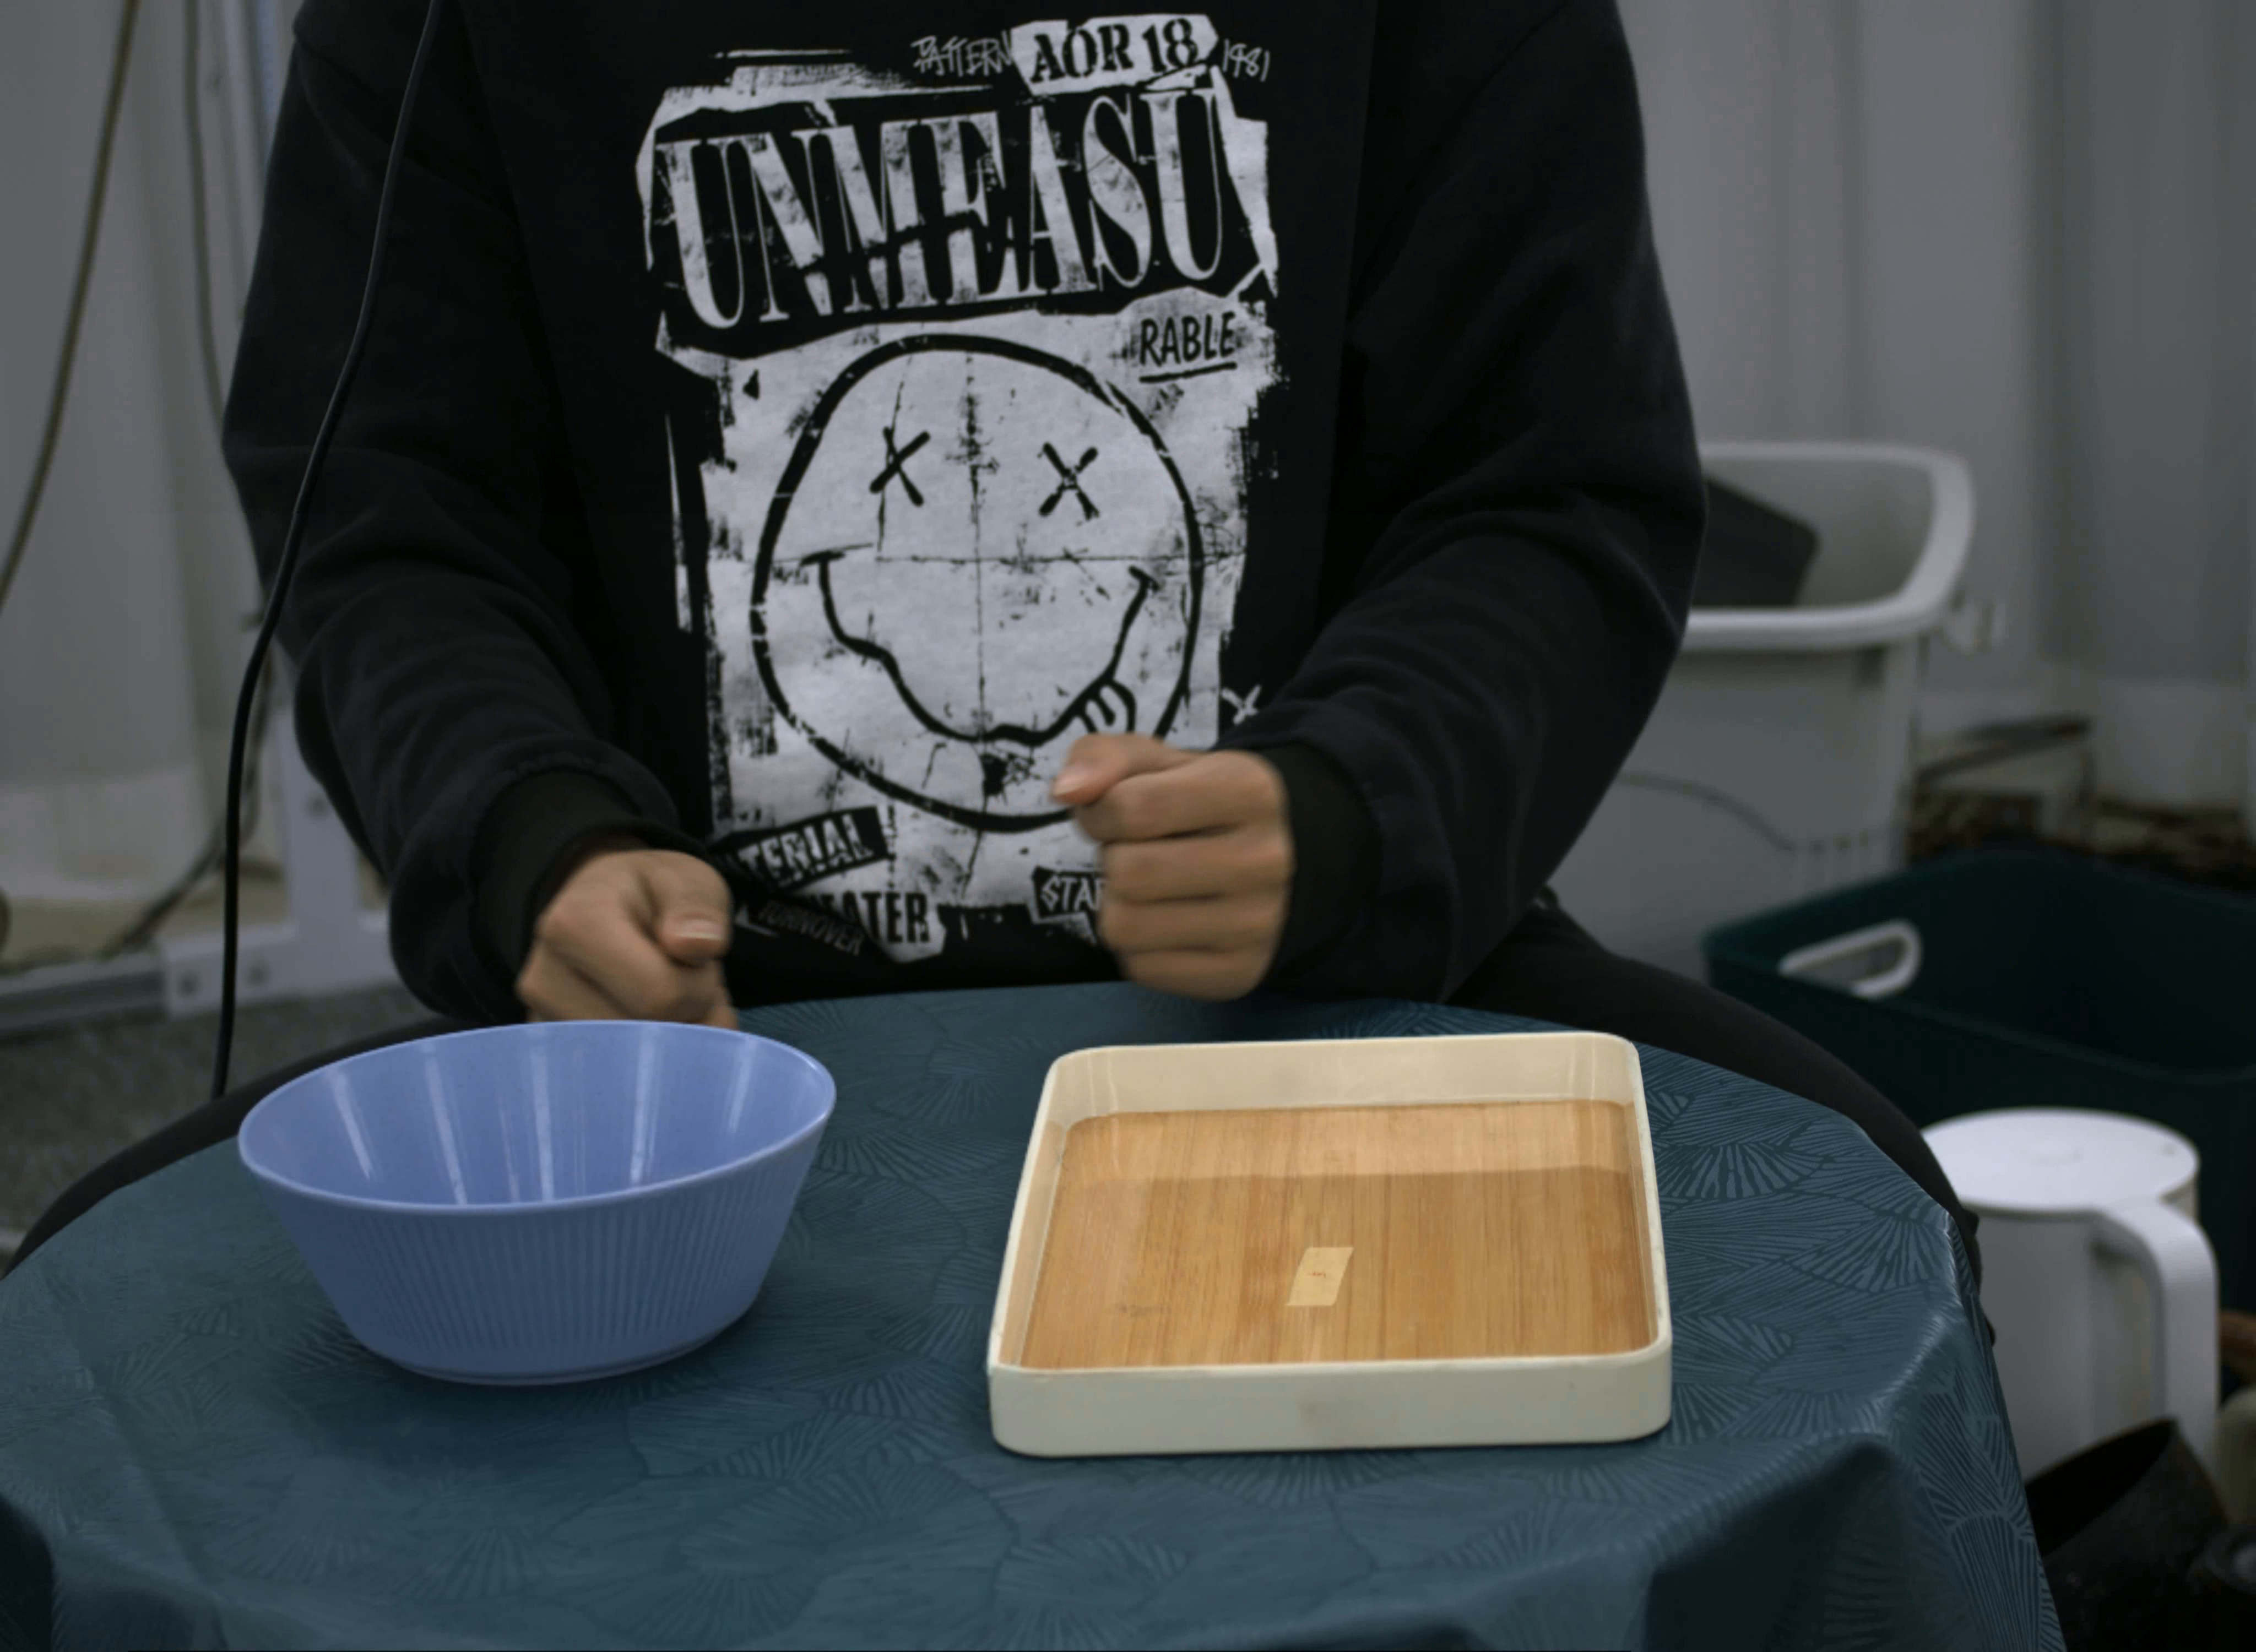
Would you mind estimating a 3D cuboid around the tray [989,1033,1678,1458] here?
[{"bbox_3d":[0.063,0.121,1.629,0.191,0.027,0.302,-2,15,4],"label":"tray"}]

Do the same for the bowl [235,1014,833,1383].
[{"bbox_3d":[-0.173,0.113,1.616,0.175,0.070,0.177,-2,16,0],"label":"bowl"}]
